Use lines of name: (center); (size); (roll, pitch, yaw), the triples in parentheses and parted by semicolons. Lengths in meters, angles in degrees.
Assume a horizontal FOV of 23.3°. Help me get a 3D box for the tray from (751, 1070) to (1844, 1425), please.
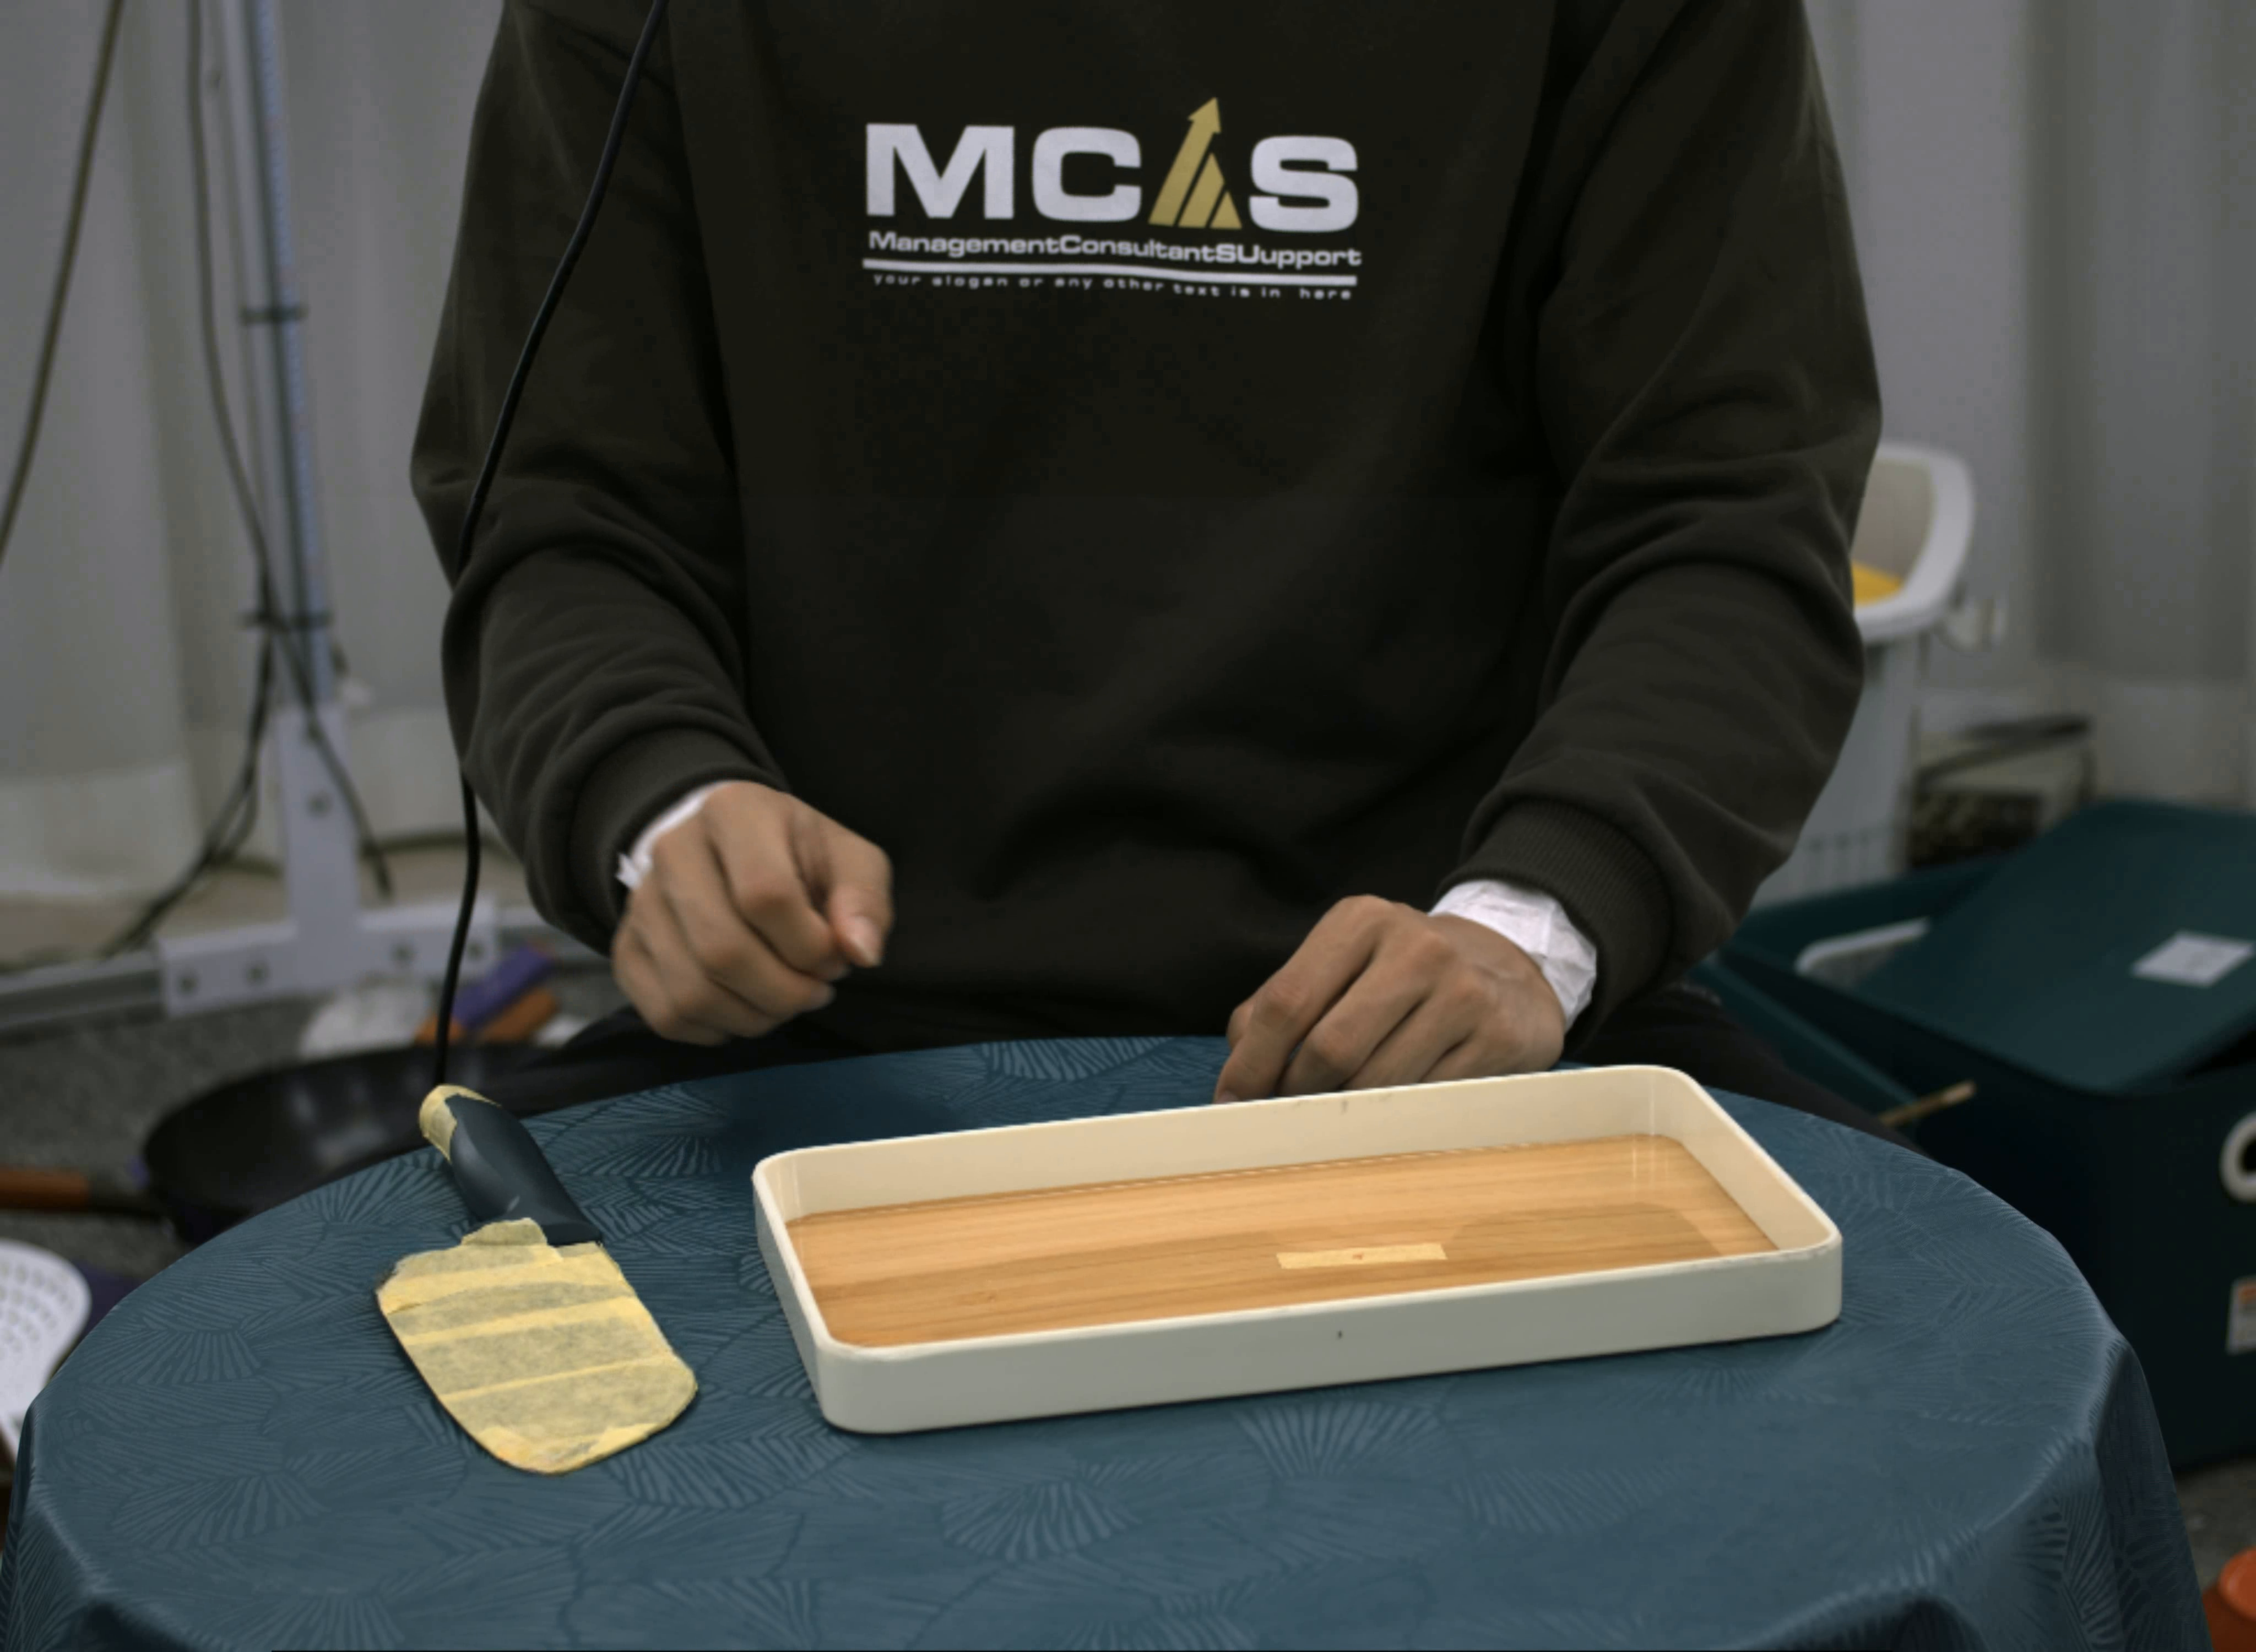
tray: (0.046, 0.123, 1.627); (0.299, 0.027, 0.193); (-5, 14, -9)

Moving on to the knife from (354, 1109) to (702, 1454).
knife: (-0.189, 0.137, 1.641); (0.080, 0.027, 0.292); (-5, 16, -16)
